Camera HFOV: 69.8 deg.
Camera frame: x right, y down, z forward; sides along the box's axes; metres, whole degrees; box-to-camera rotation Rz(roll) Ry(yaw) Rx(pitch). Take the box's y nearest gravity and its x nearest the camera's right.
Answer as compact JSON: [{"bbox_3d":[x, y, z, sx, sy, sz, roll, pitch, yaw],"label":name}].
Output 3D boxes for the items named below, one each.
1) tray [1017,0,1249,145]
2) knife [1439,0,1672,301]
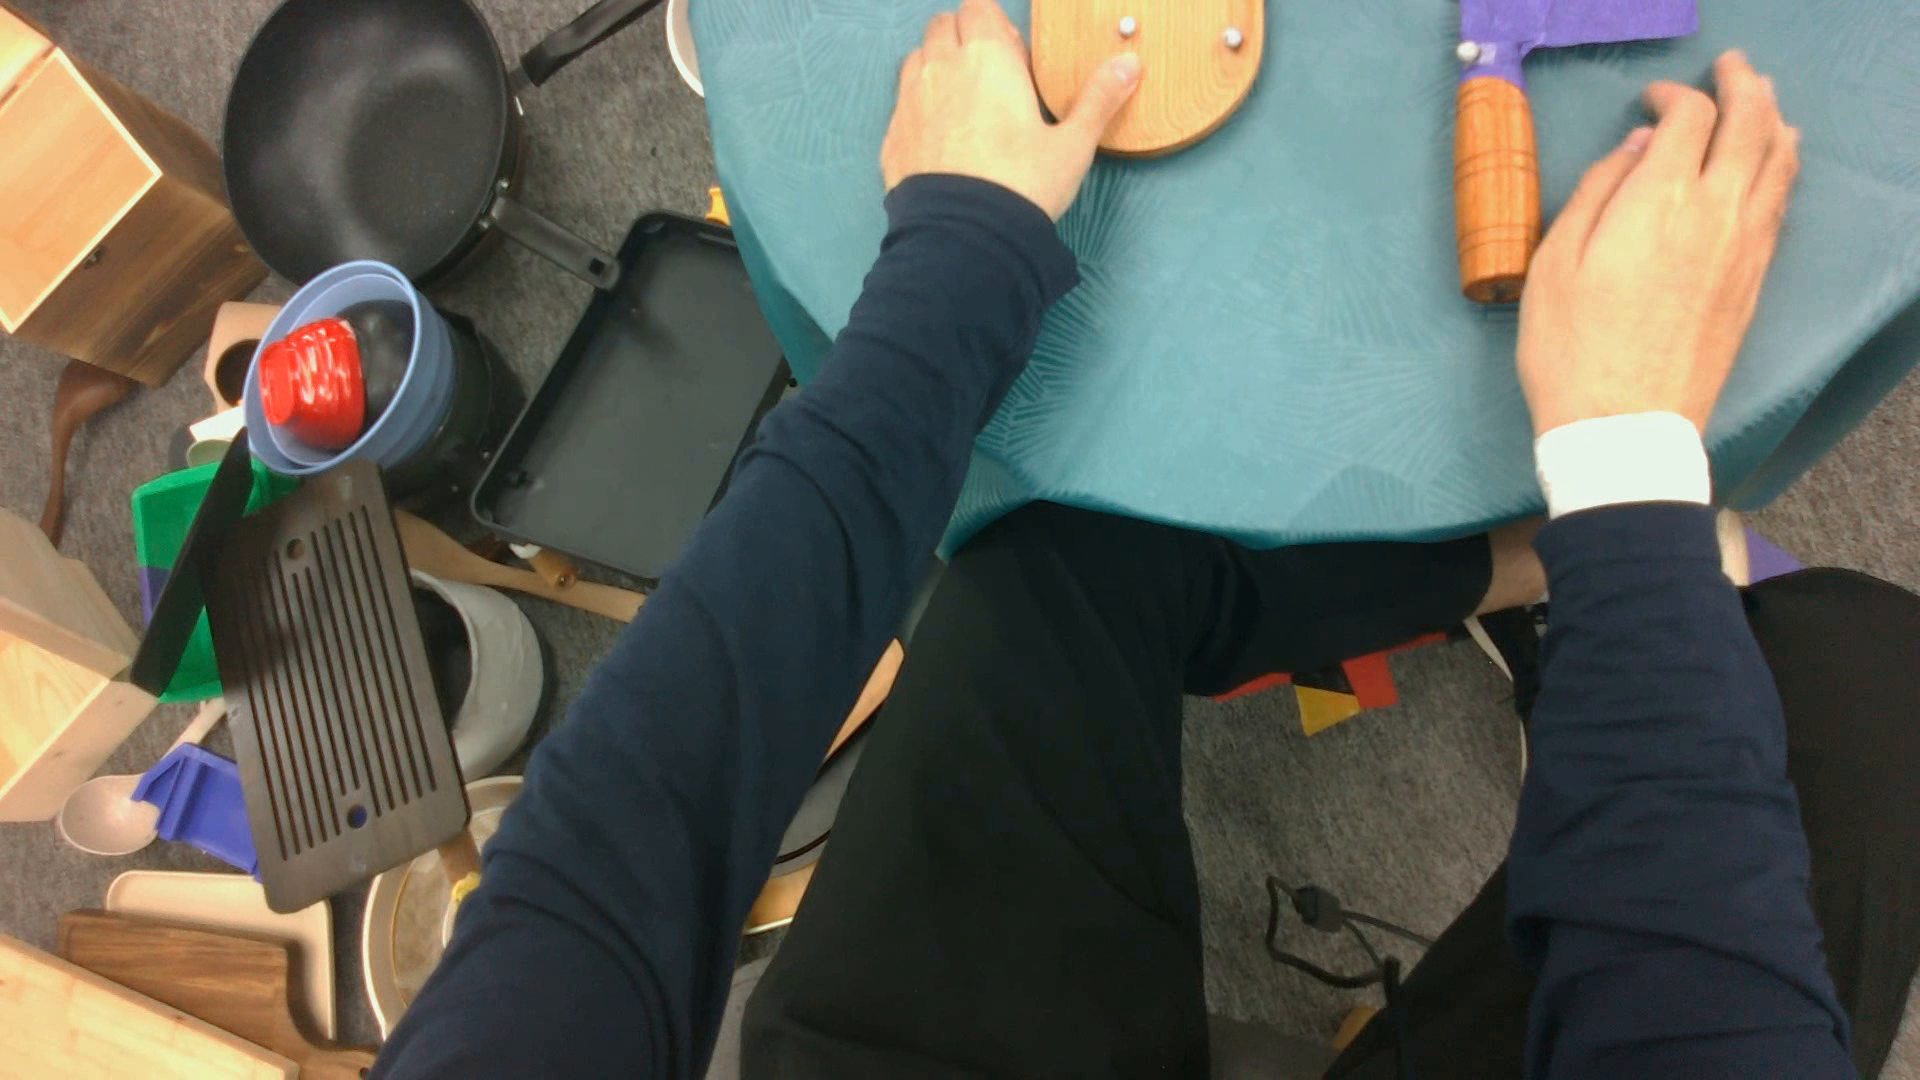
[{"bbox_3d":[0.076,-0.286,0.620,0.101,0.020,0.231,-3,78,11],"label":"tray"},{"bbox_3d":[0.243,-0.254,0.571,0.104,0.032,0.316,-2,79,13],"label":"knife"}]
